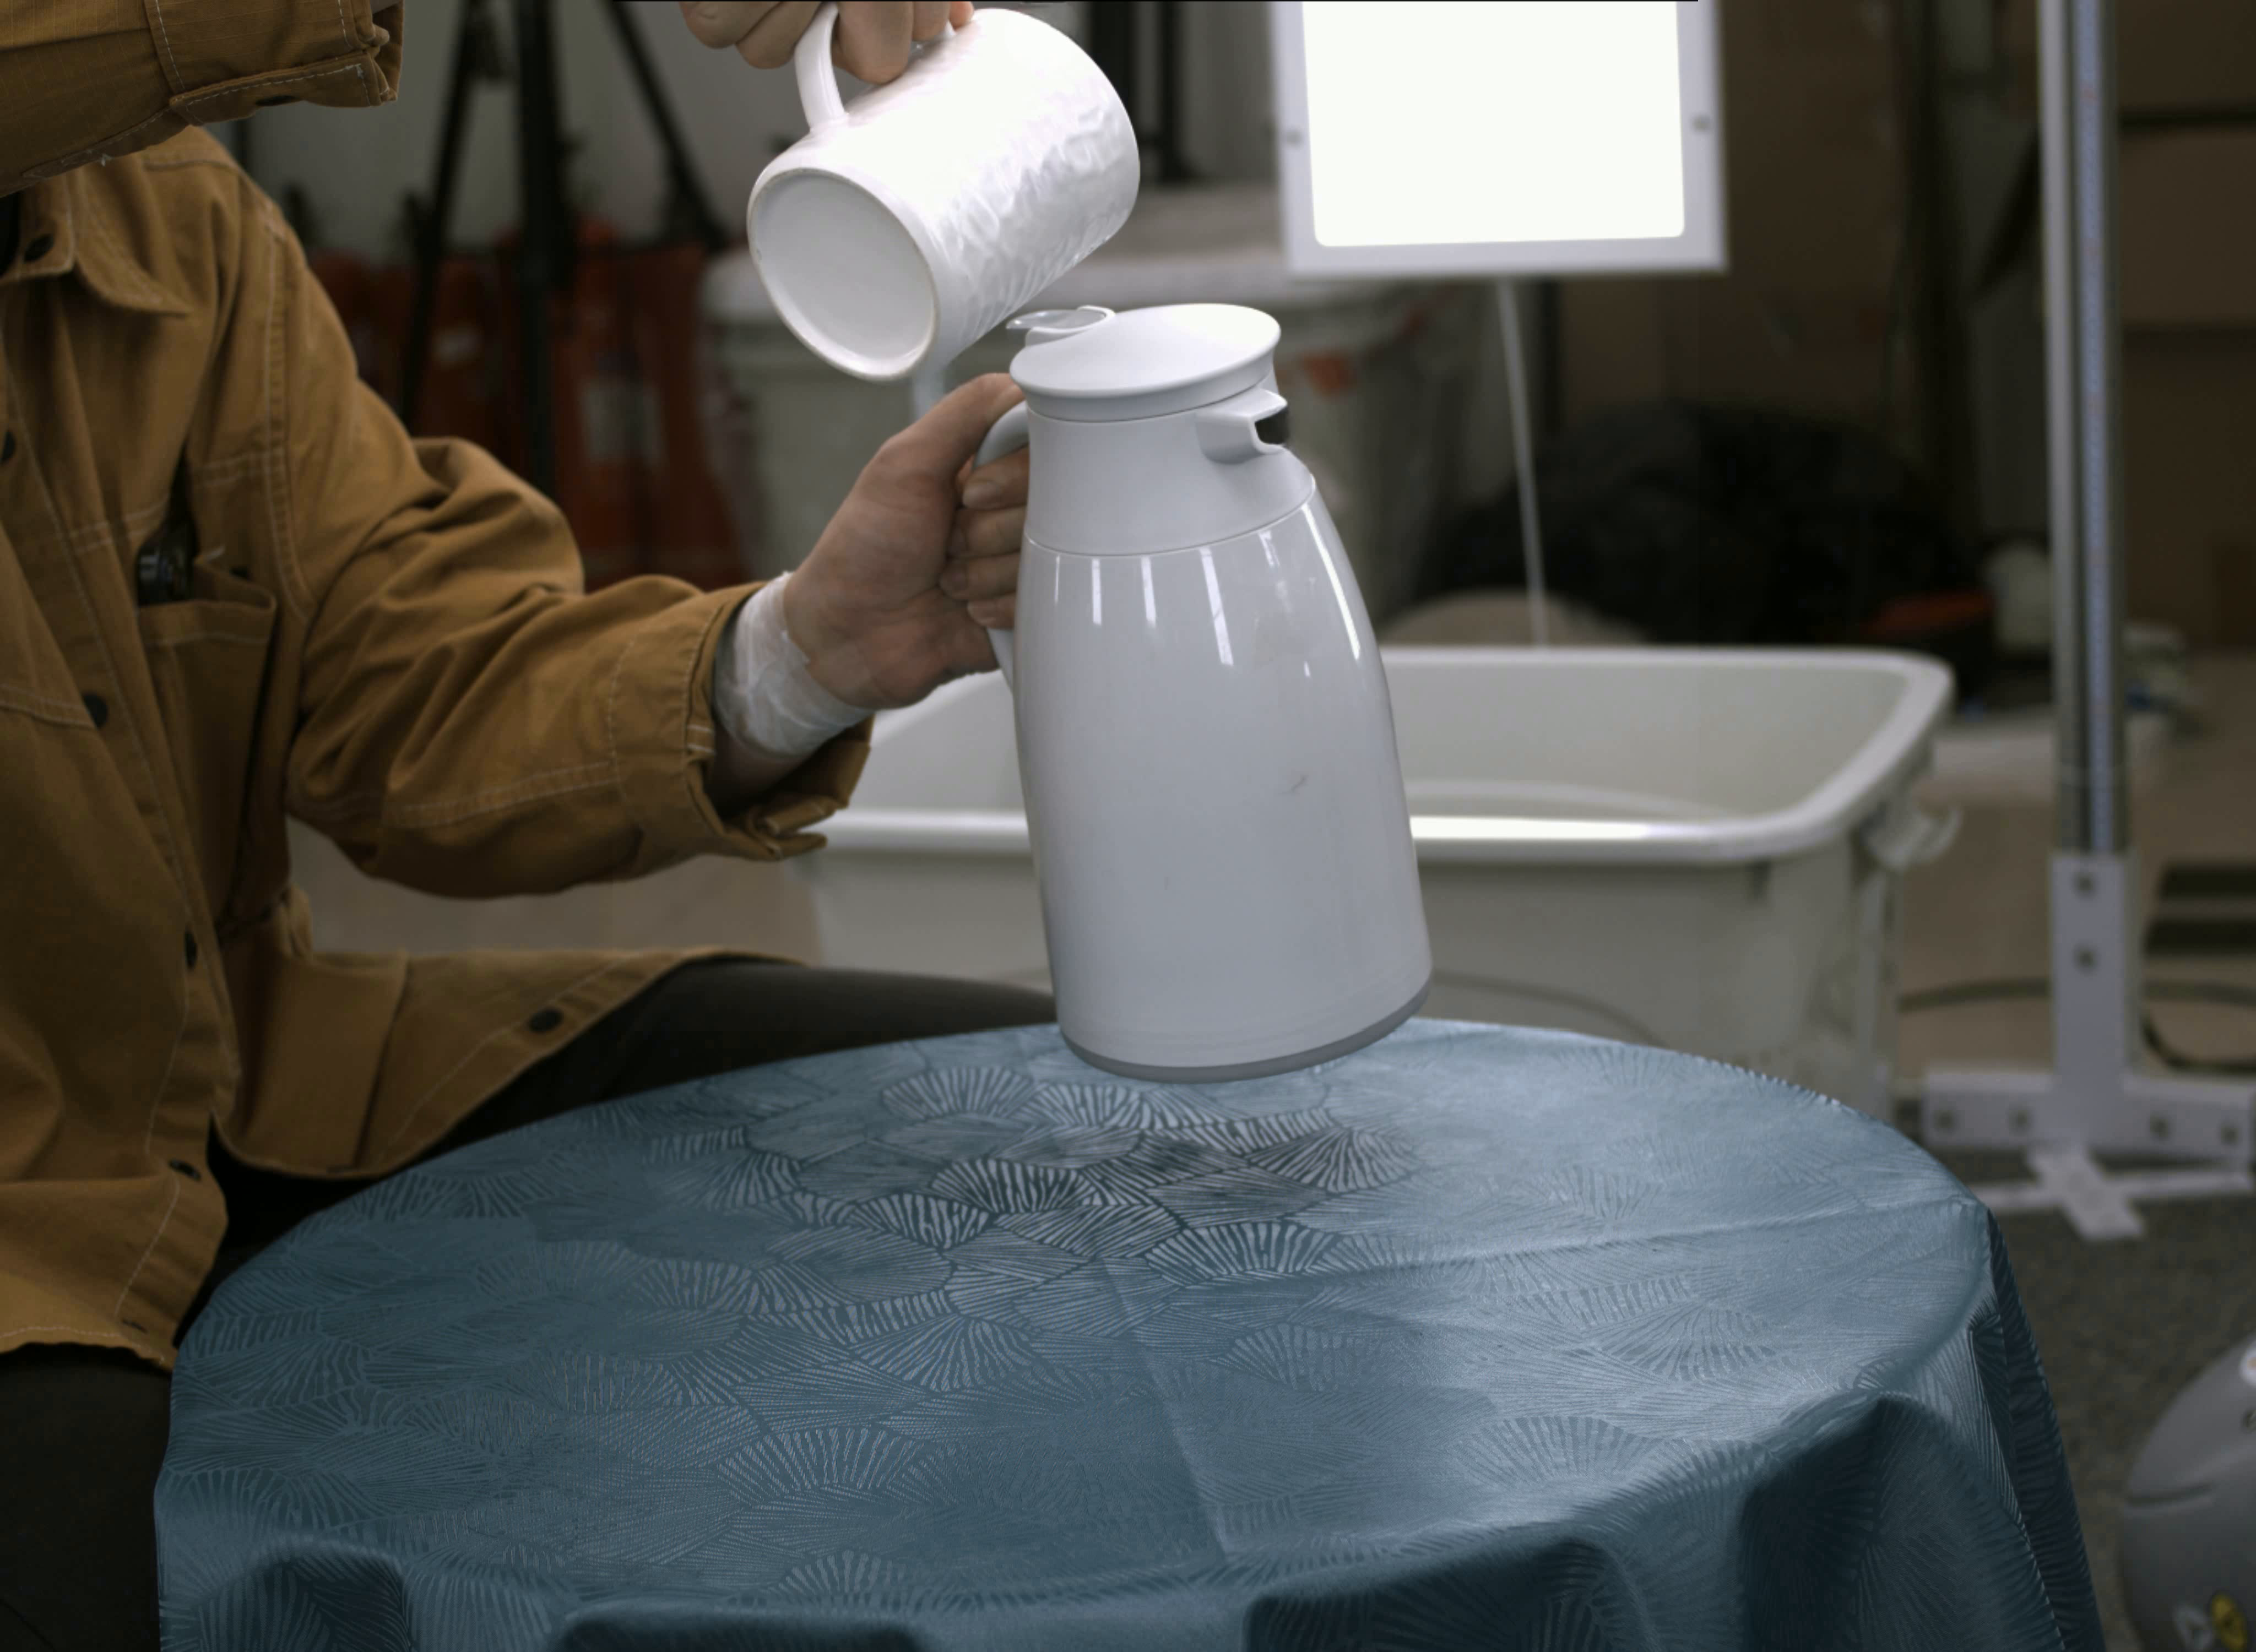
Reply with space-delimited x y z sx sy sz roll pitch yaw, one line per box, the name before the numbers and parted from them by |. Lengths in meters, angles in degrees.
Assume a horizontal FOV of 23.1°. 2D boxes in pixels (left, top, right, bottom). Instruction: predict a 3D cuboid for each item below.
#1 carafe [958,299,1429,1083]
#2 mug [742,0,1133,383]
carafe | 0.008 -0.055 1.878 0.129 0.249 0.171 -26 26 -34
mug | -0.068 -0.212 1.736 0.087 0.118 0.100 -8 26 47
